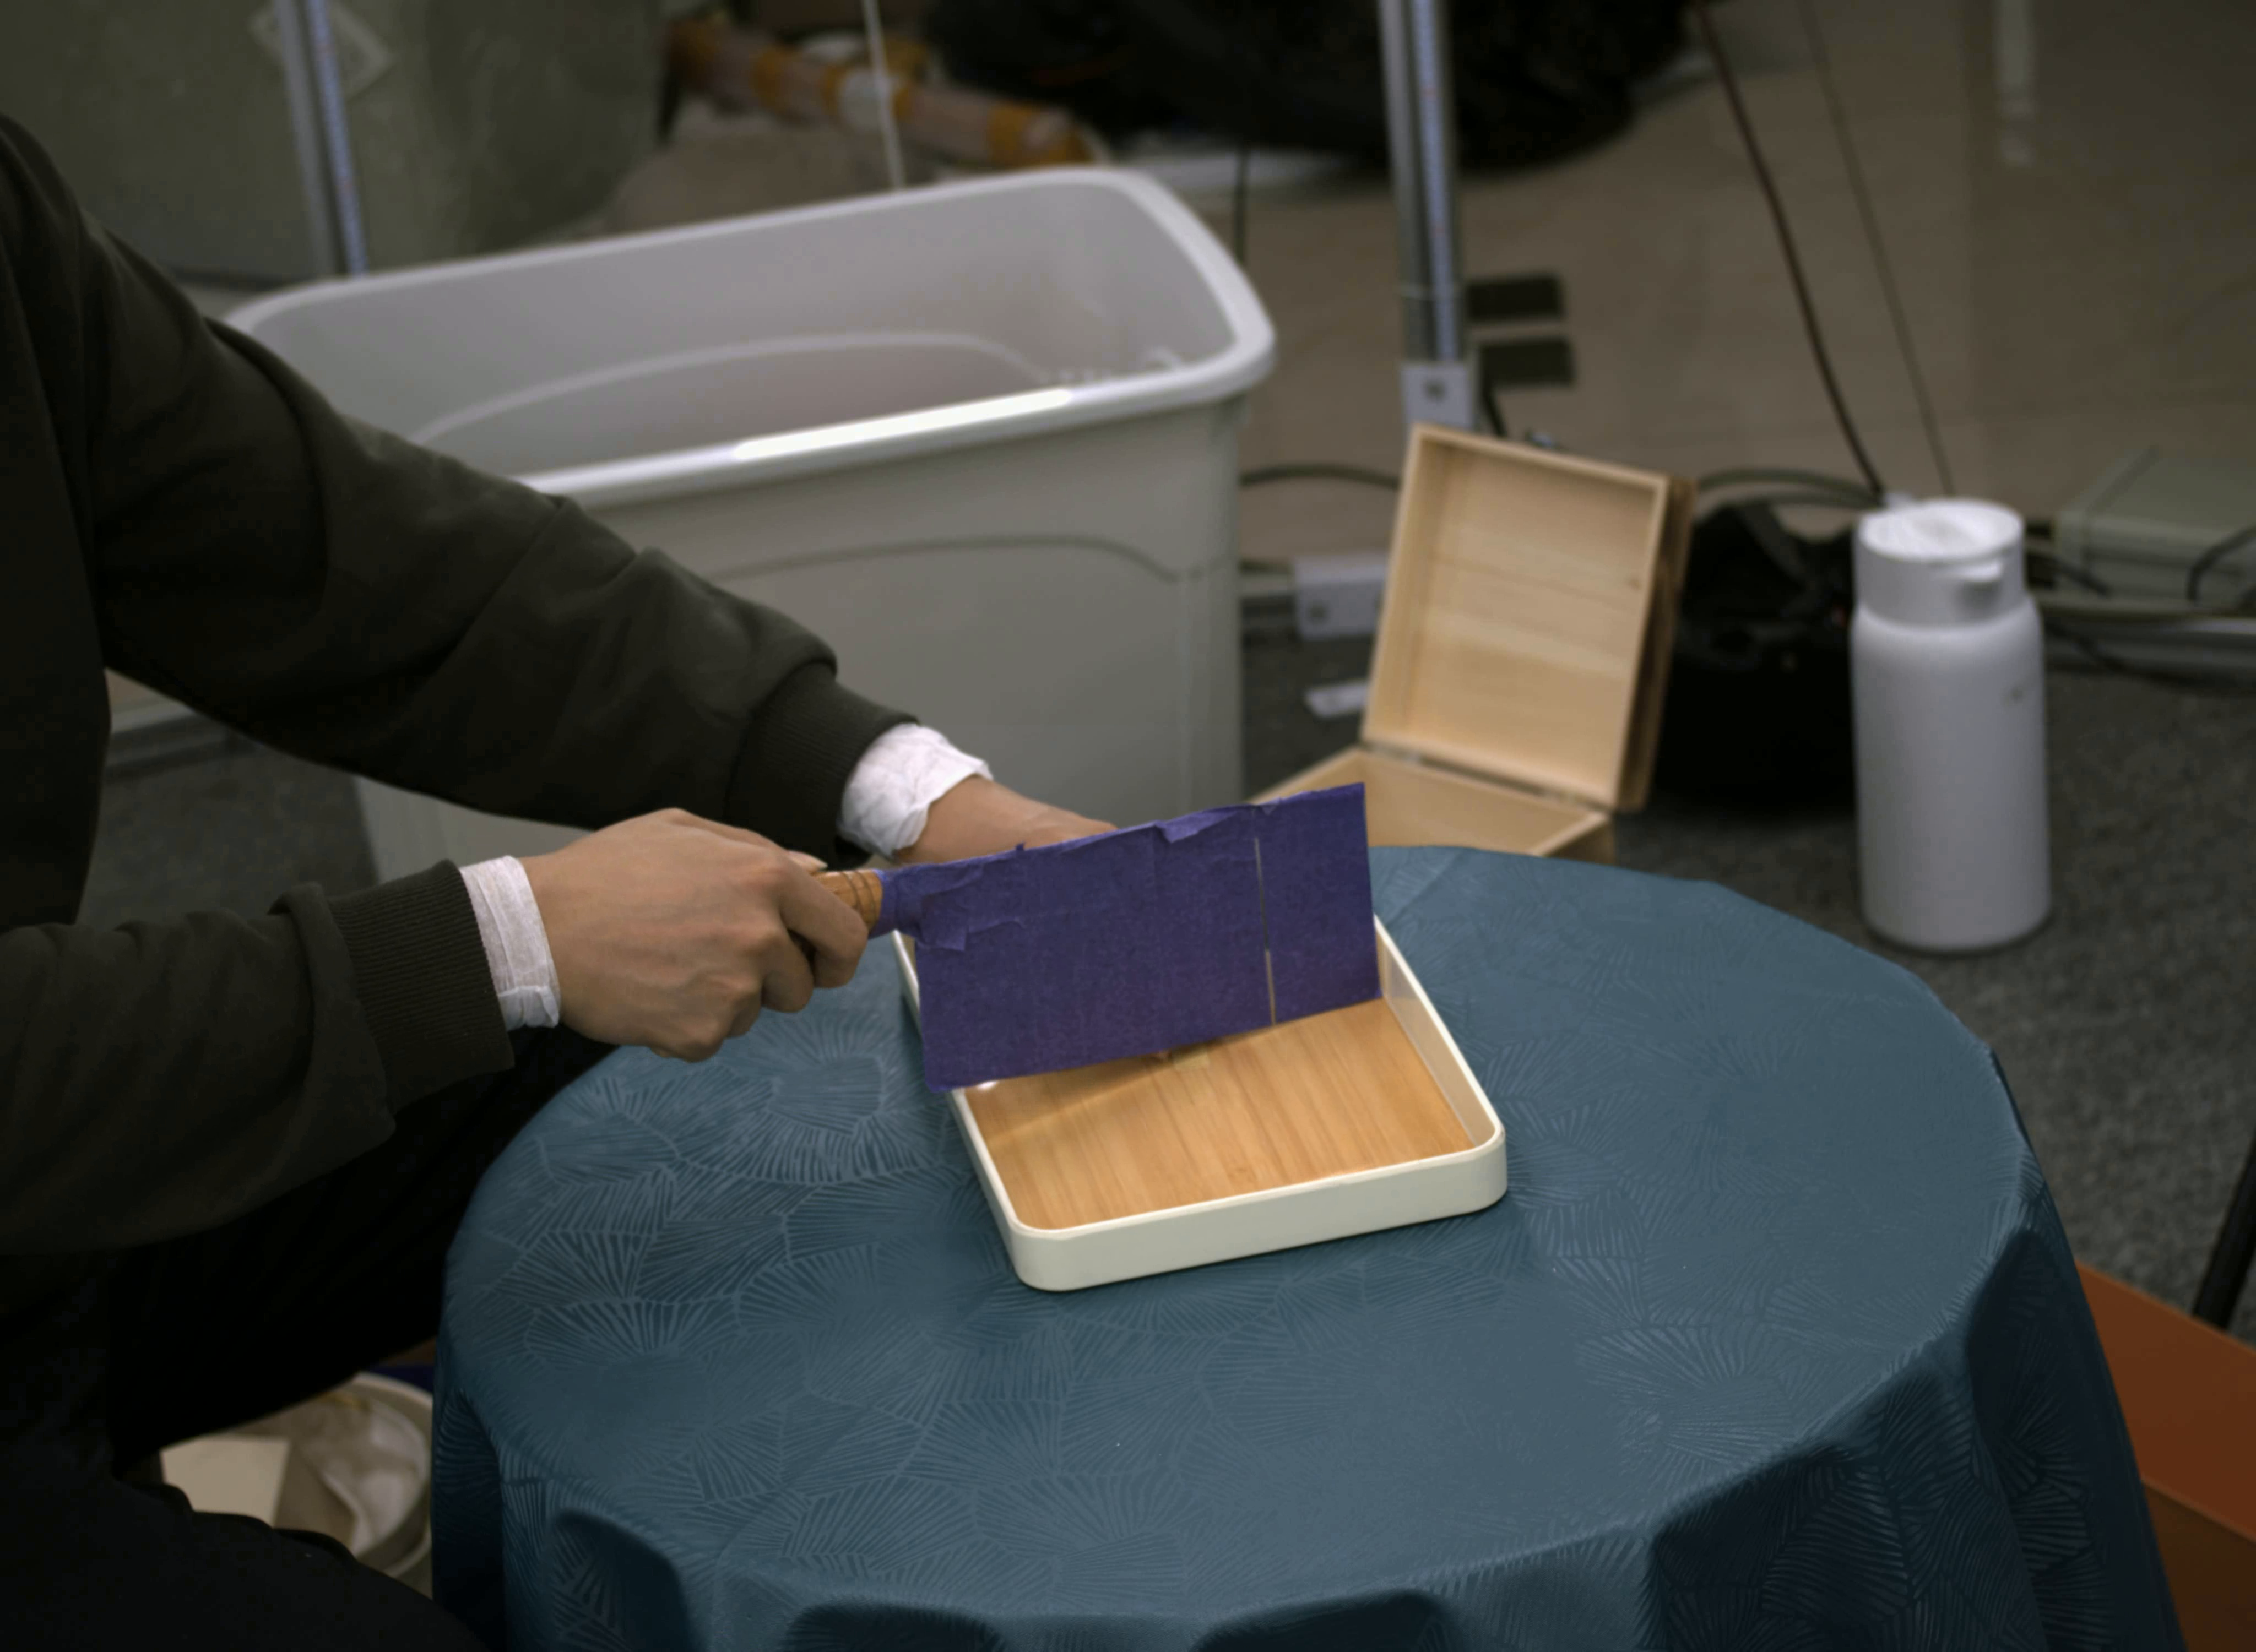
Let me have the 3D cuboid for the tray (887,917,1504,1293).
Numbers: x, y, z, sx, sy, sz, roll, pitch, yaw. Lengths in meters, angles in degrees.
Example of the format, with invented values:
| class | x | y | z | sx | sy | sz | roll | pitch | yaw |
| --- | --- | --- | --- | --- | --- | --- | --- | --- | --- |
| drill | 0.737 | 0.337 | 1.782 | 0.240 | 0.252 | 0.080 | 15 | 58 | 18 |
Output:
| class | x | y | z | sx | sy | sz | roll | pitch | yaw |
| --- | --- | --- | --- | --- | --- | --- | --- | --- | --- |
| tray | 0.021 | 0.089 | 2.222 | 0.191 | 0.028 | 0.296 | -11 | 25 | -8 |

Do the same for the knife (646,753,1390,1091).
| class | x | y | z | sx | sy | sz | roll | pitch | yaw |
| --- | --- | --- | --- | --- | --- | --- | --- | --- | --- |
| knife | -0.034 | 0.050 | 2.182 | 0.314 | 0.105 | 0.032 | -12 | 14 | -25 |
